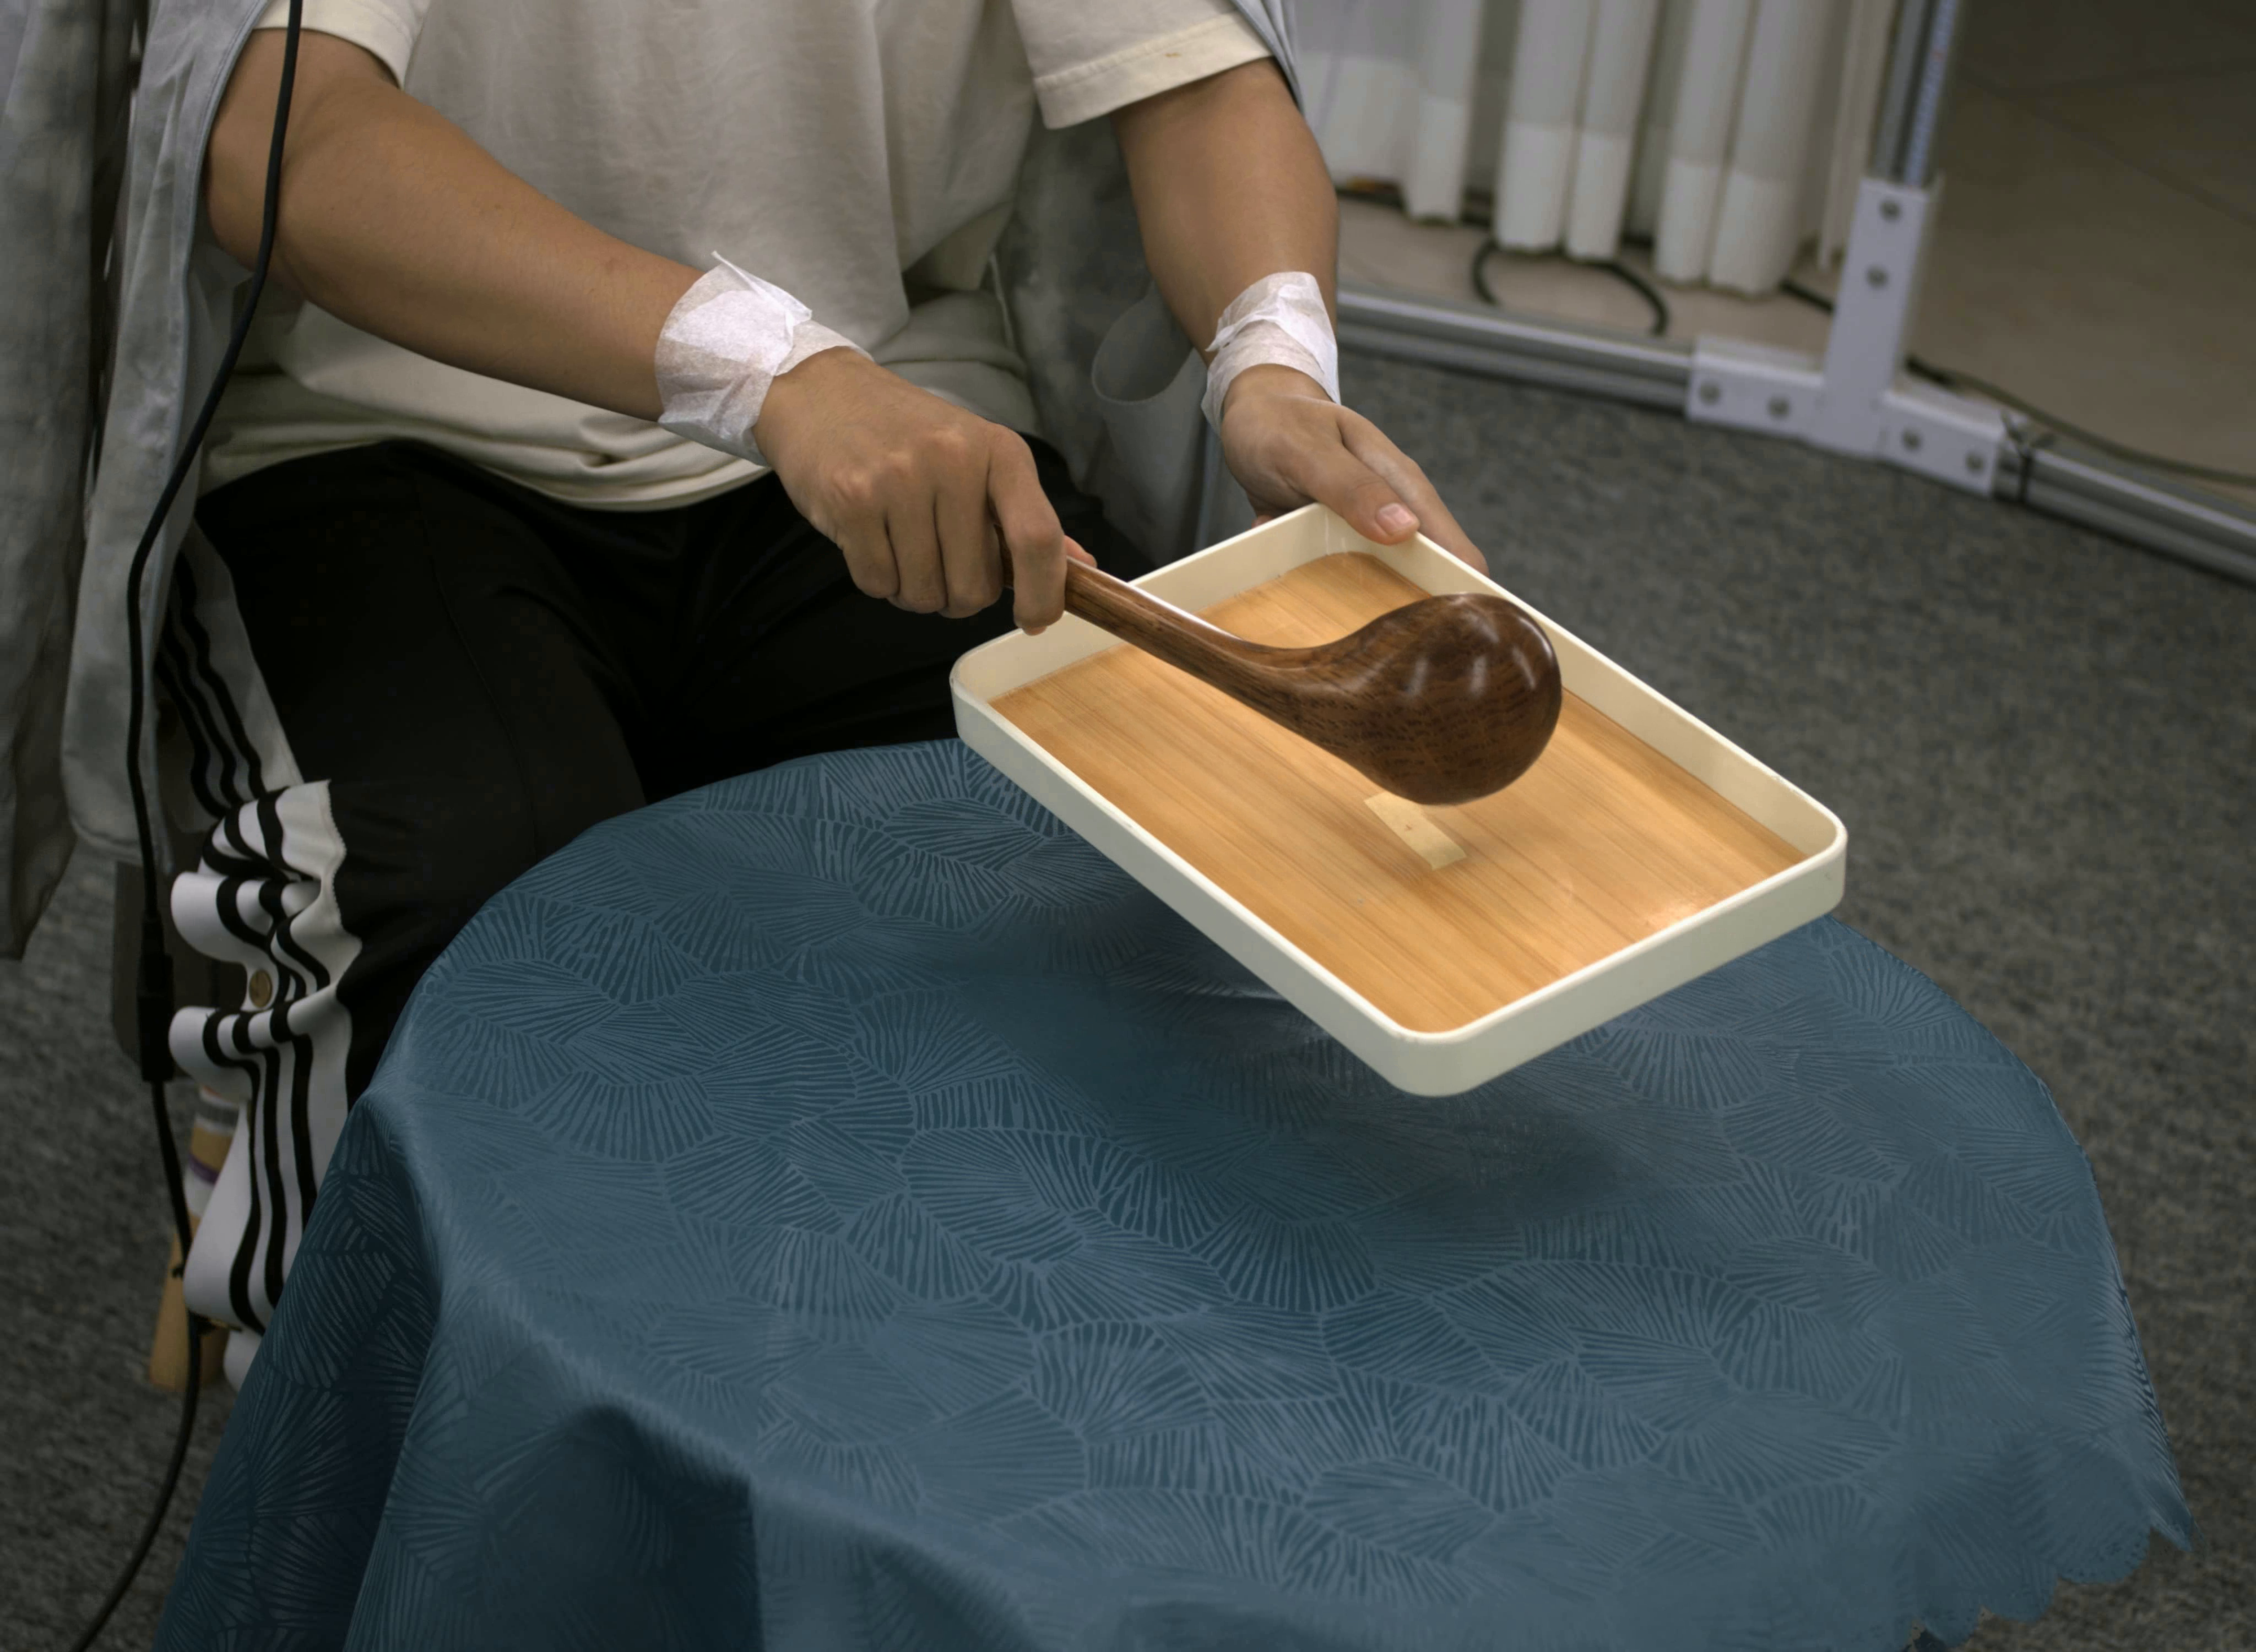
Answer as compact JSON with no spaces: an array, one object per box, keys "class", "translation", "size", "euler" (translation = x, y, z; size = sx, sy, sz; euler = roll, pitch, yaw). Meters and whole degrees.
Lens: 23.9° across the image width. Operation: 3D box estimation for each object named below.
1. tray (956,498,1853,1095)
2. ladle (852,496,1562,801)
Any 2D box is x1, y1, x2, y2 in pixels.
[{"class":"tray","translation":[0.093,-0.016,1.874],"size":[0.191,0.027,0.303],"euler":[-24,39,-24]},{"class":"ladle","translation":[0.028,-0.080,1.880],"size":[0.276,0.081,0.076],"euler":[23,33,34]}]
